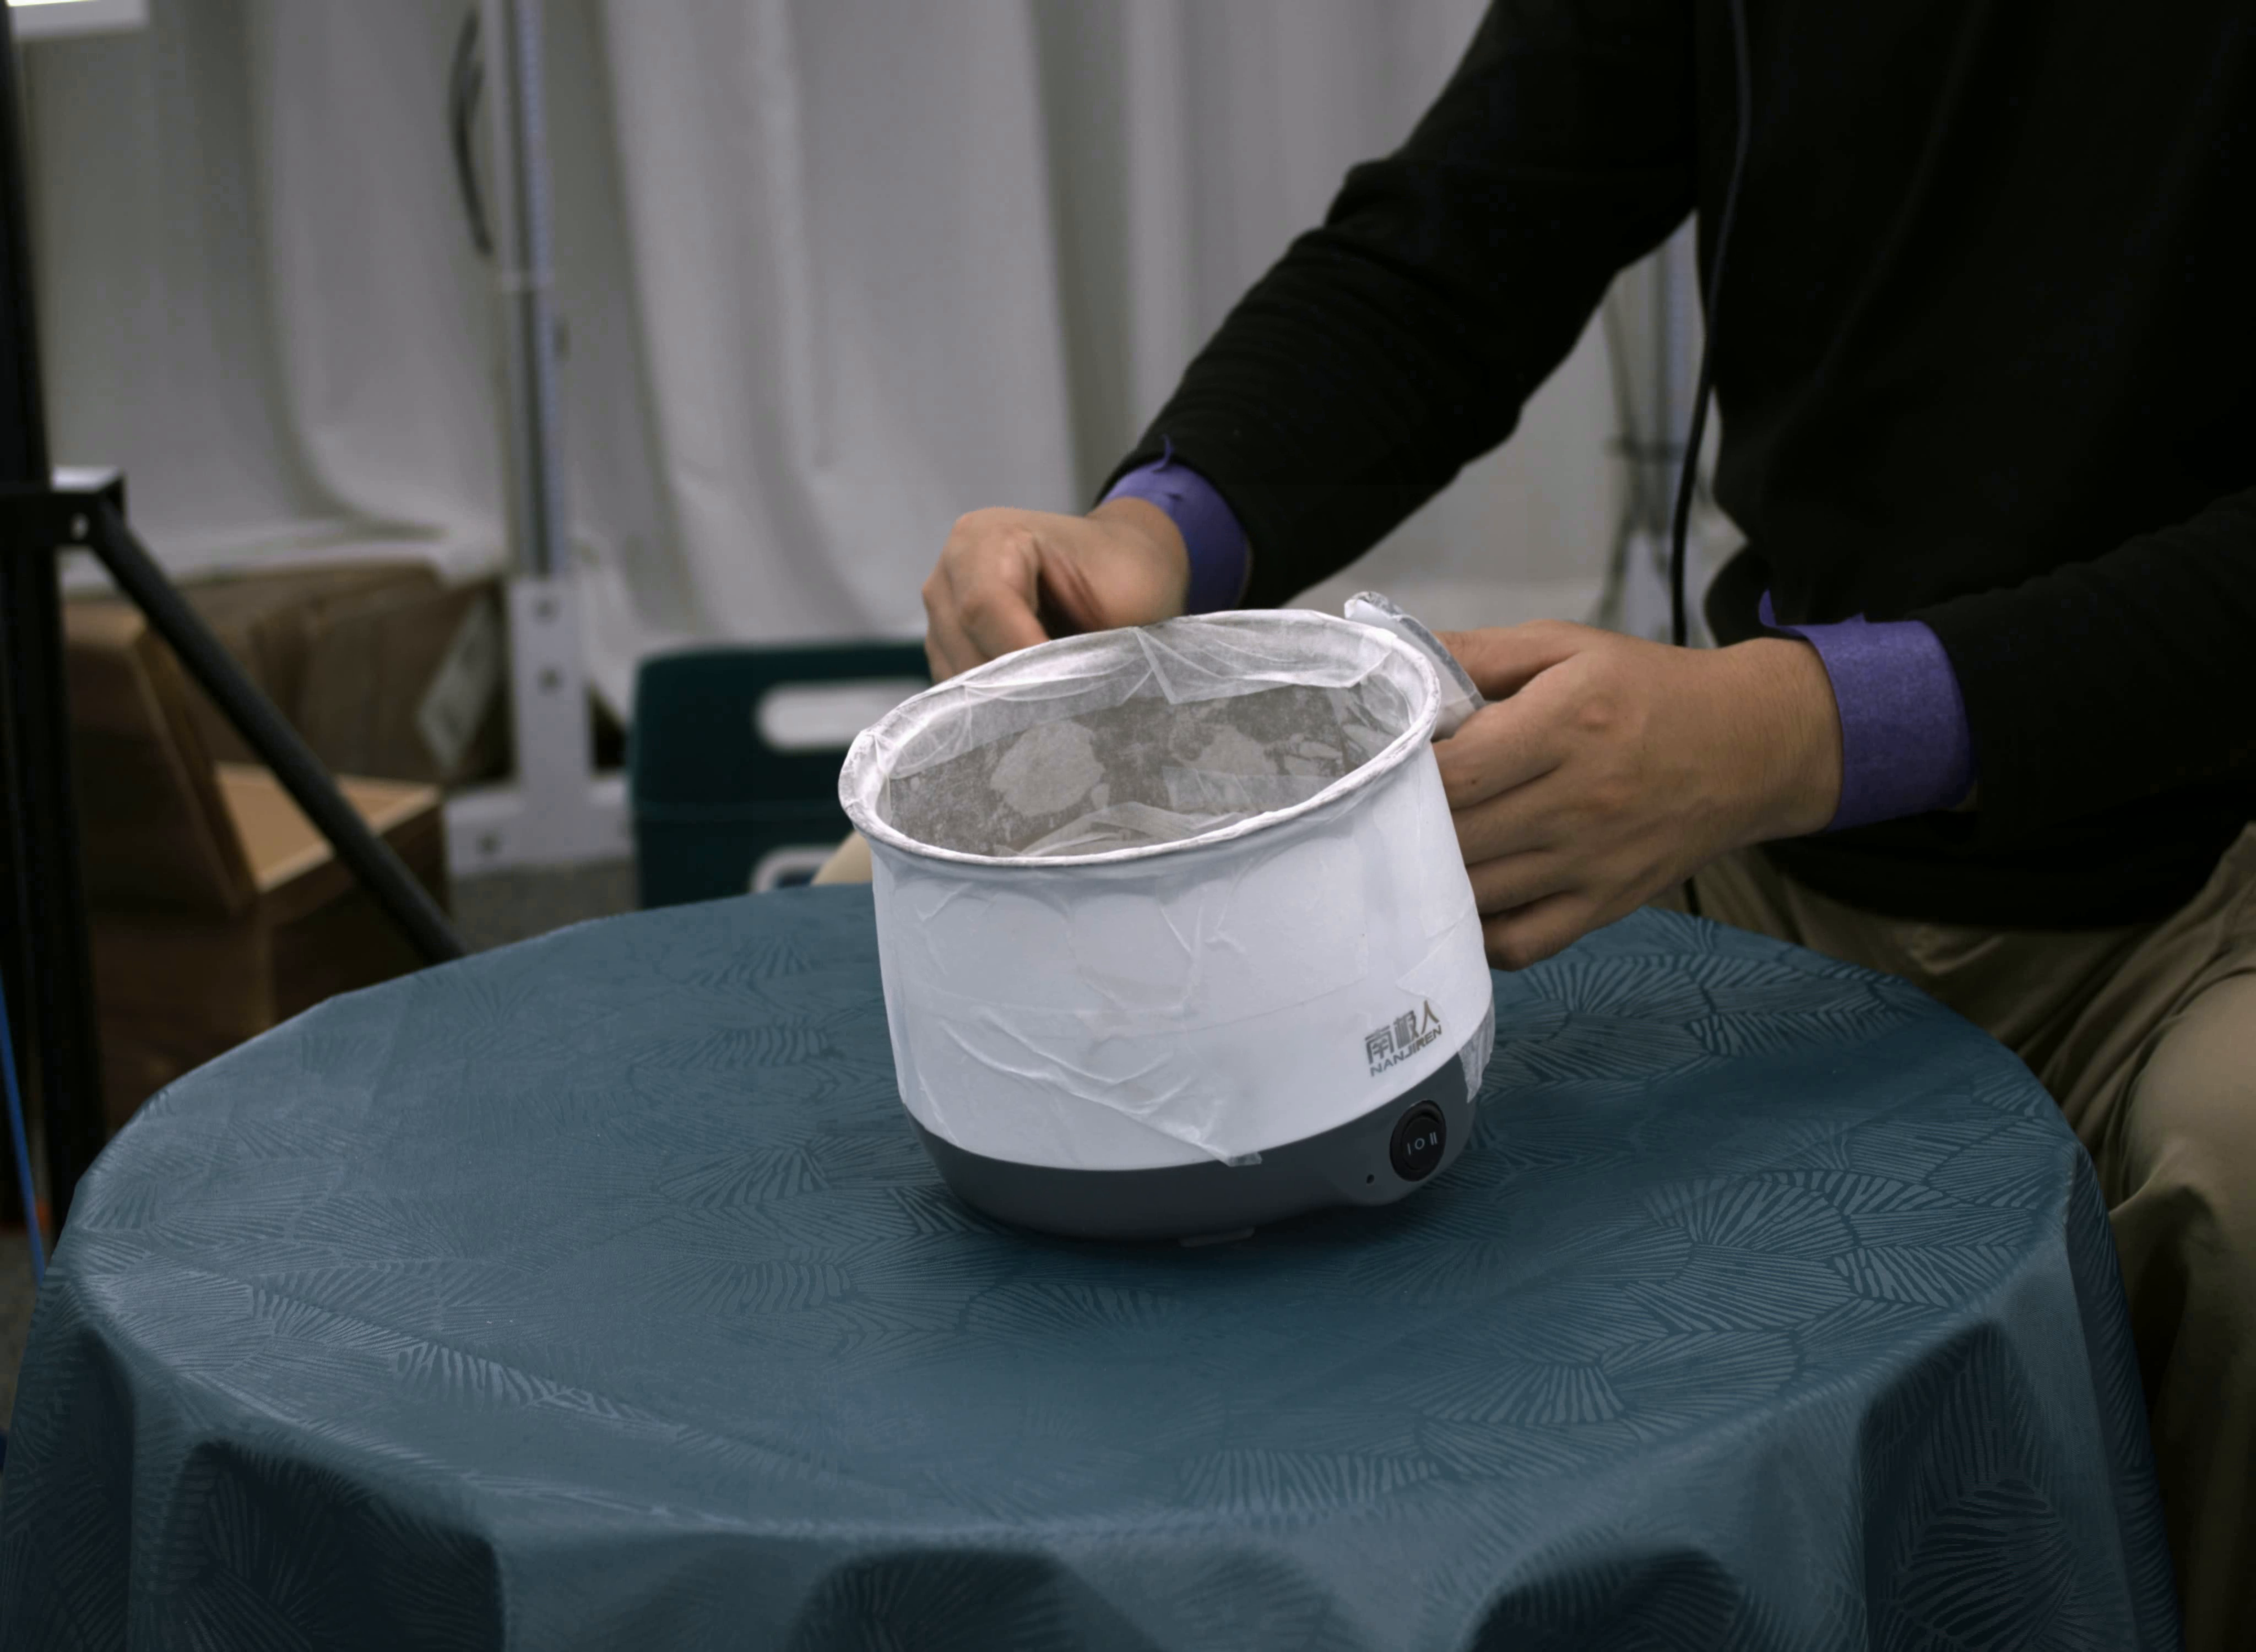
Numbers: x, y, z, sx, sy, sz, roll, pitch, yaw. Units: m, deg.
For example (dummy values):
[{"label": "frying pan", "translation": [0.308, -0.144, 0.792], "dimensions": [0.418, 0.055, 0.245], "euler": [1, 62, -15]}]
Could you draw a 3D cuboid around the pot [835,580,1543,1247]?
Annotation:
[{"label": "pot", "translation": [0.032, 0.018, 1.562], "dimensions": [0.183, 0.136, 0.229], "euler": [13, 34, 44]}]

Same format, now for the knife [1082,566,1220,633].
[{"label": "knife", "translation": [-0.002, -0.058, 1.642], "dimensions": [0.024, 0.016, 0.239], "euler": [-12, -5, -13]}]
